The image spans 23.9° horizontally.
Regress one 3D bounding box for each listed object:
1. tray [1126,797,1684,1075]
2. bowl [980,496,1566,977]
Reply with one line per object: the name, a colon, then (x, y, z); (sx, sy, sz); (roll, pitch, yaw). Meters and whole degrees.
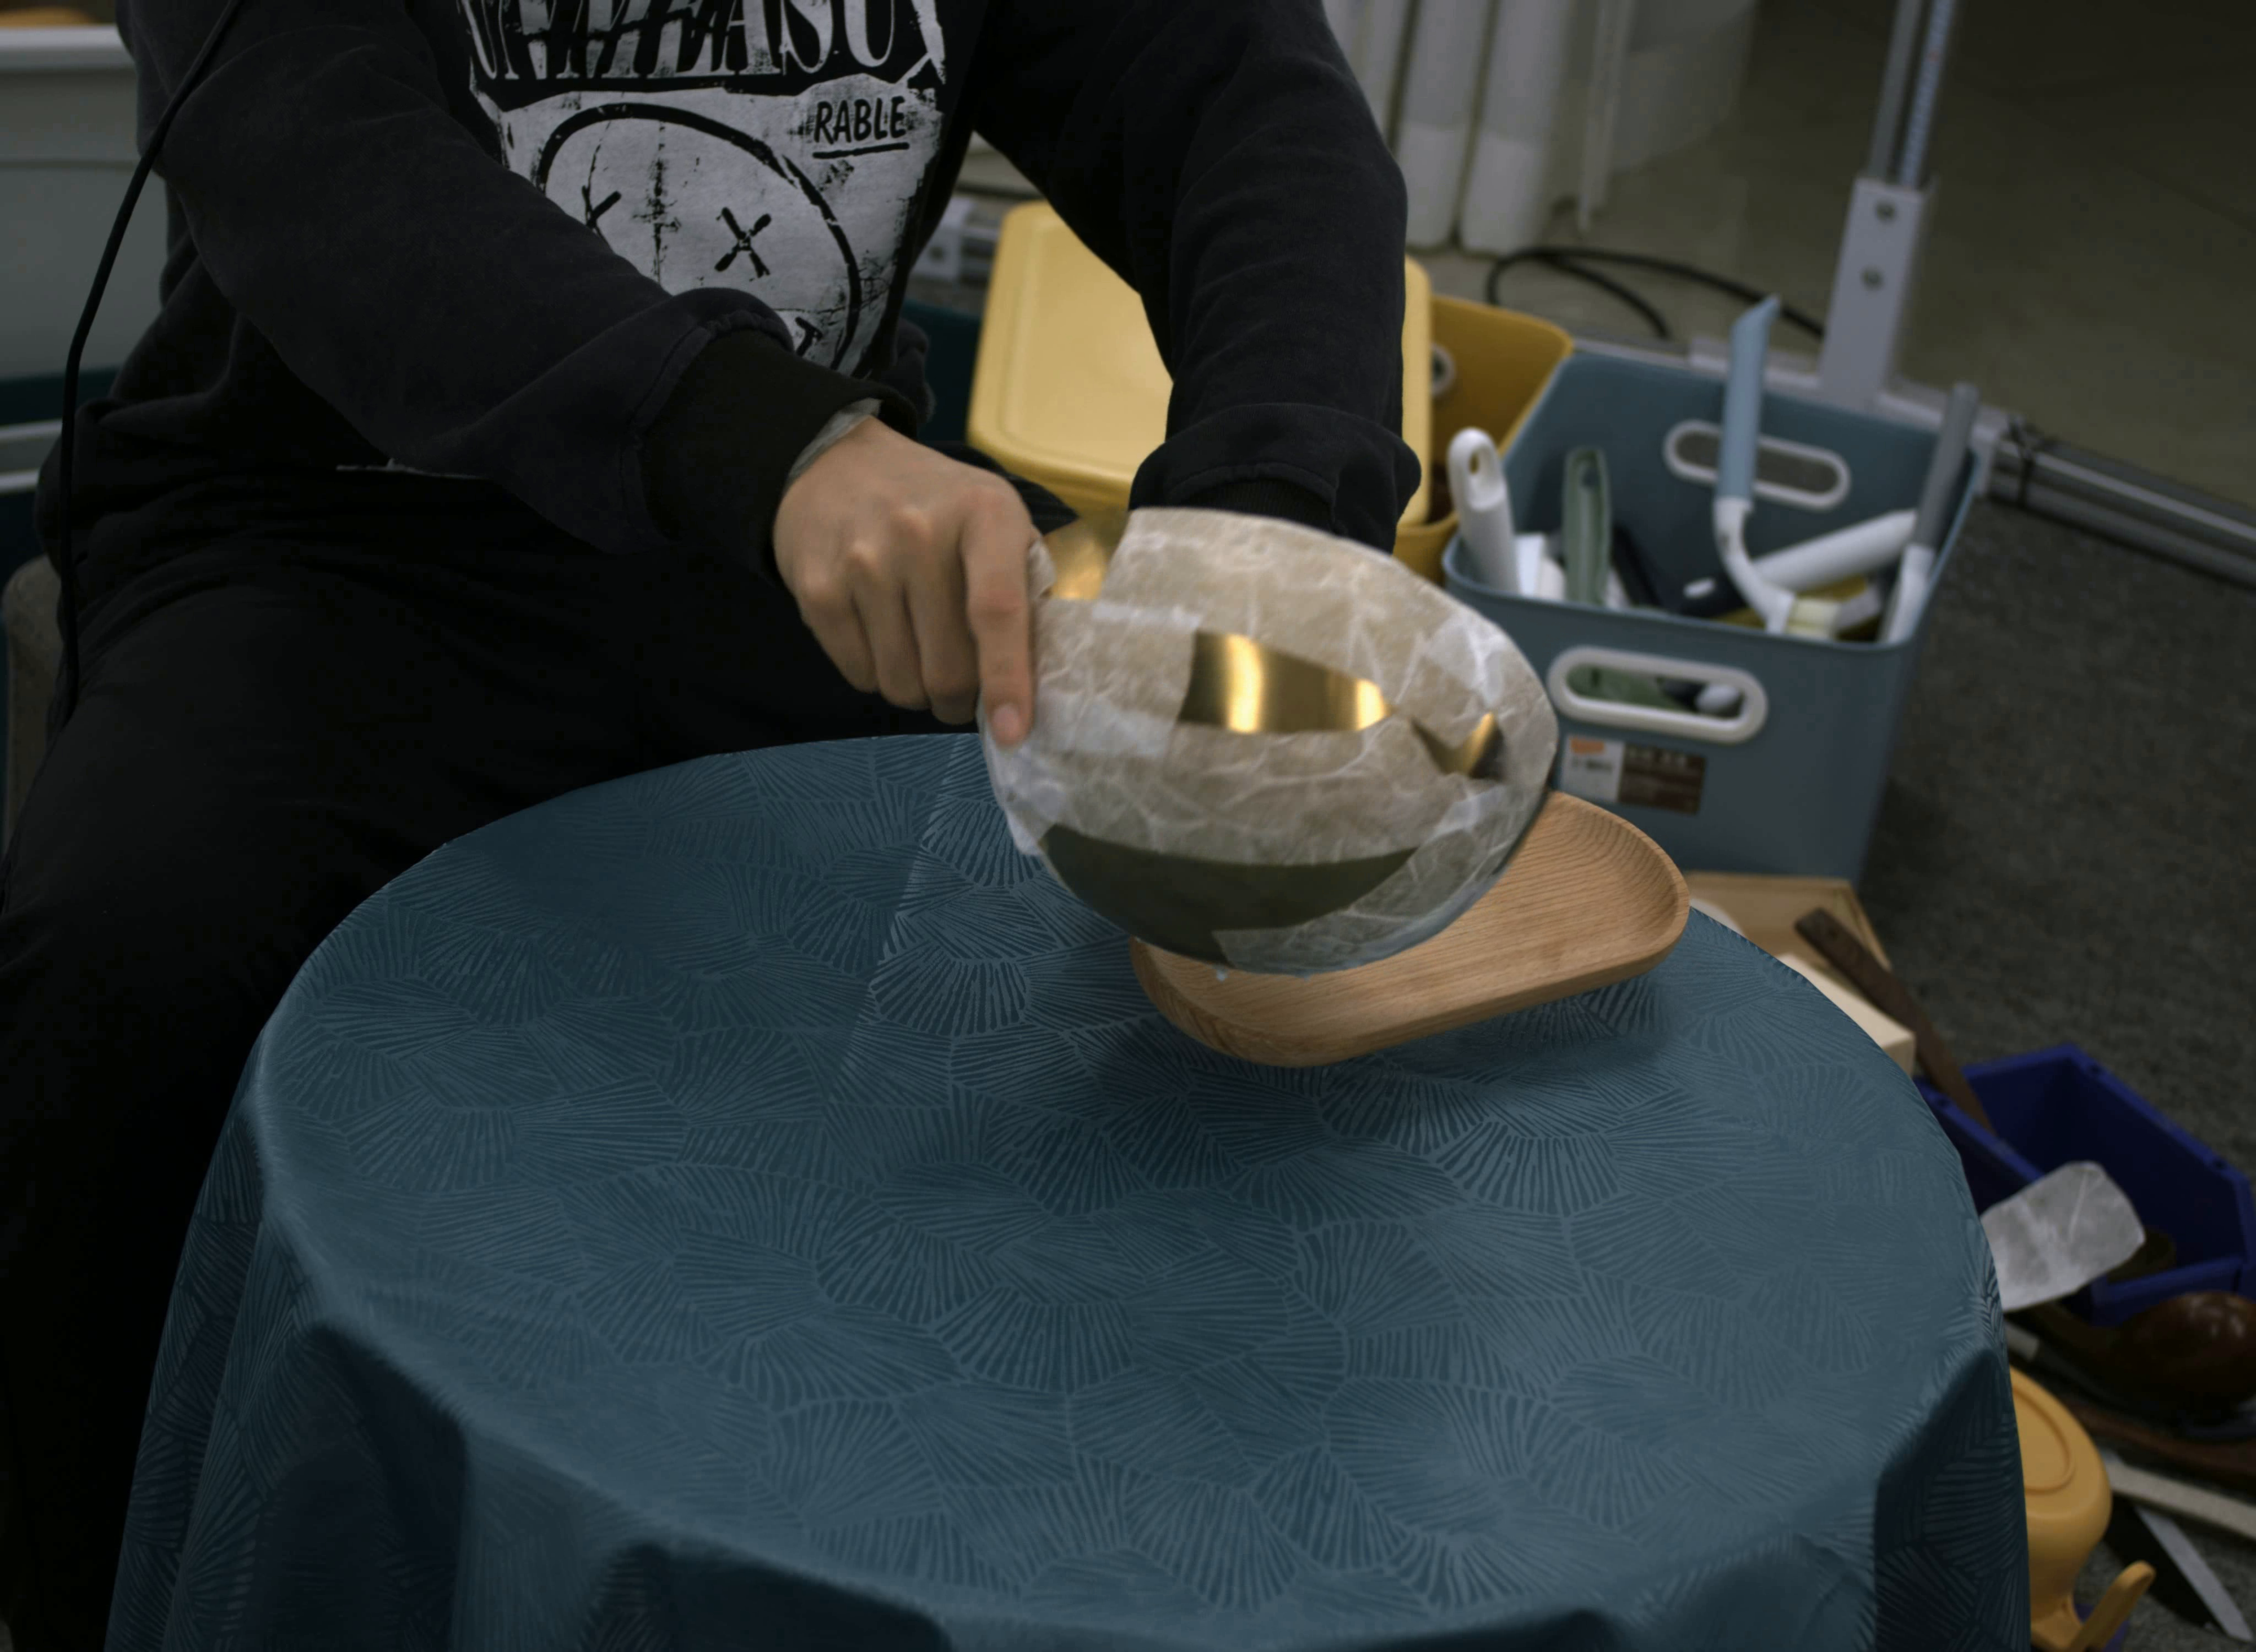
tray: (0.101, 0.038, 1.912); (0.230, 0.020, 0.102); (-15, 44, -32)
bowl: (0.038, -0.010, 1.774); (0.215, 0.213, 0.095); (13, 58, 10)
